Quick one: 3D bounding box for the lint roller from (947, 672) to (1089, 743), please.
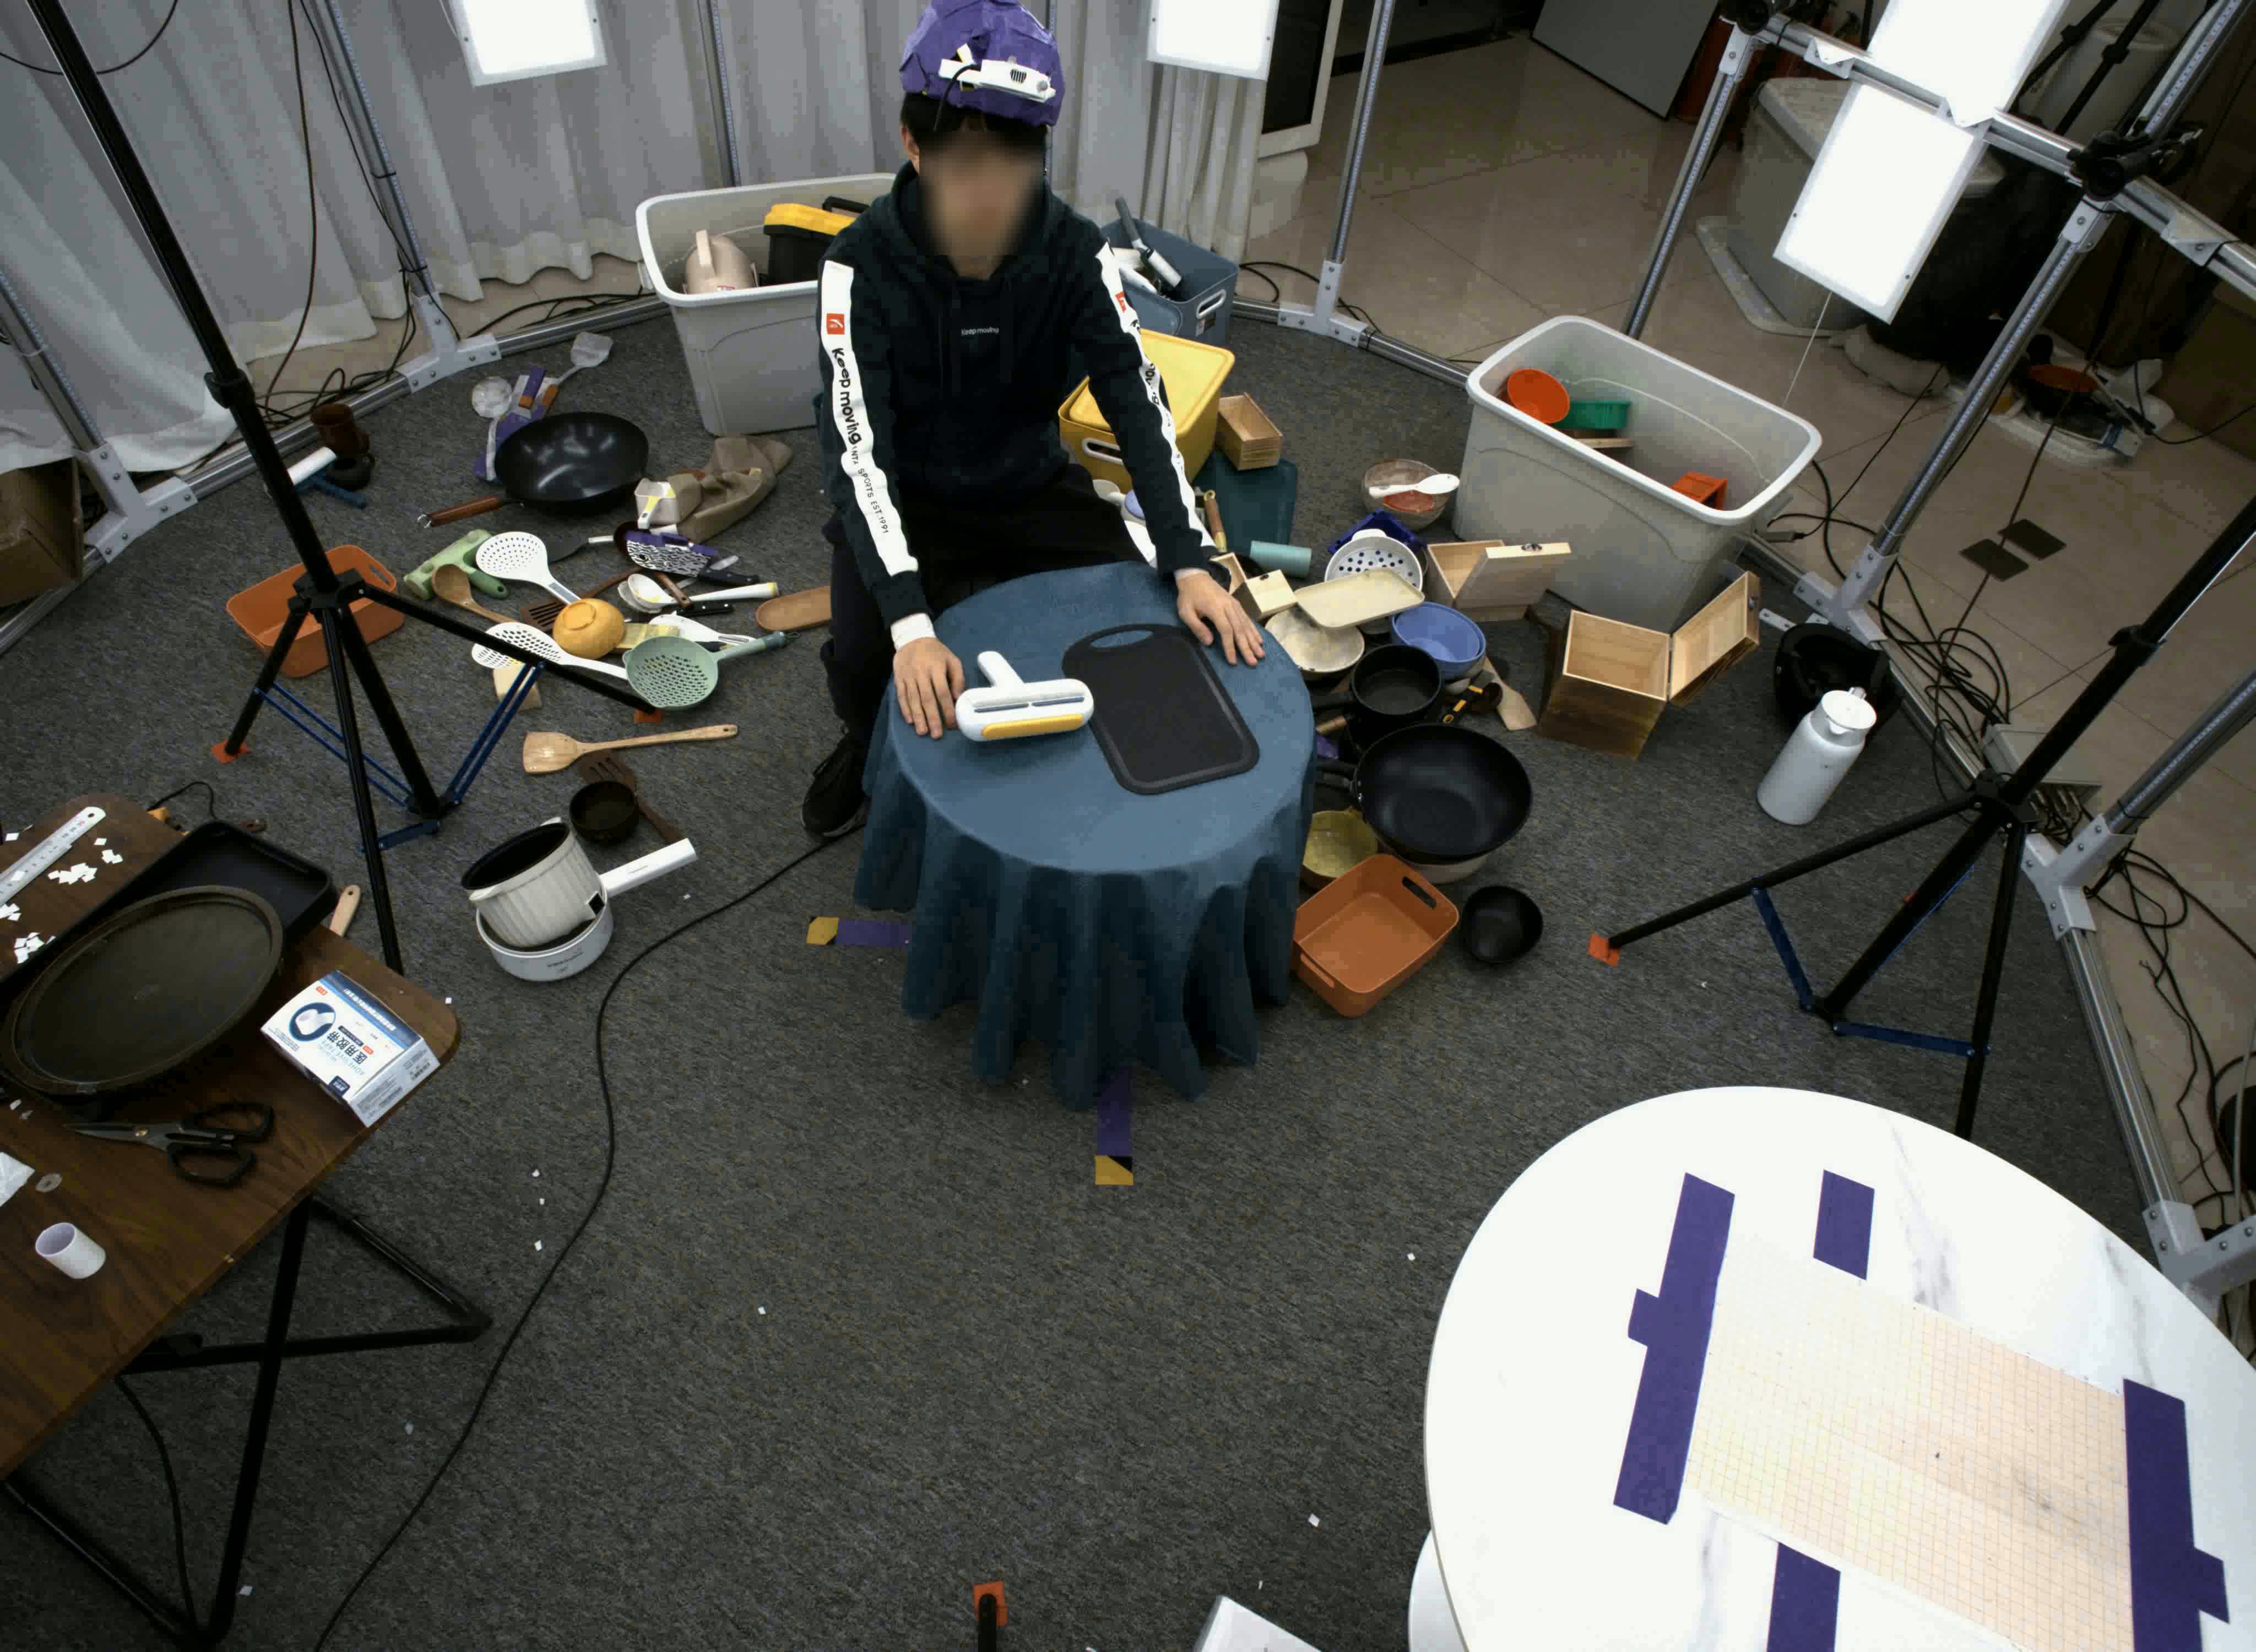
[{"bbox_3d":[-0.167,-0.179,1.793,0.192,0.072,0.197,-6,35,-18],"label":"lint roller"}]

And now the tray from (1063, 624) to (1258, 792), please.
[{"bbox_3d":[0.039,-0.179,1.821,0.211,0.009,0.333,-13,51,-15],"label":"tray"}]
